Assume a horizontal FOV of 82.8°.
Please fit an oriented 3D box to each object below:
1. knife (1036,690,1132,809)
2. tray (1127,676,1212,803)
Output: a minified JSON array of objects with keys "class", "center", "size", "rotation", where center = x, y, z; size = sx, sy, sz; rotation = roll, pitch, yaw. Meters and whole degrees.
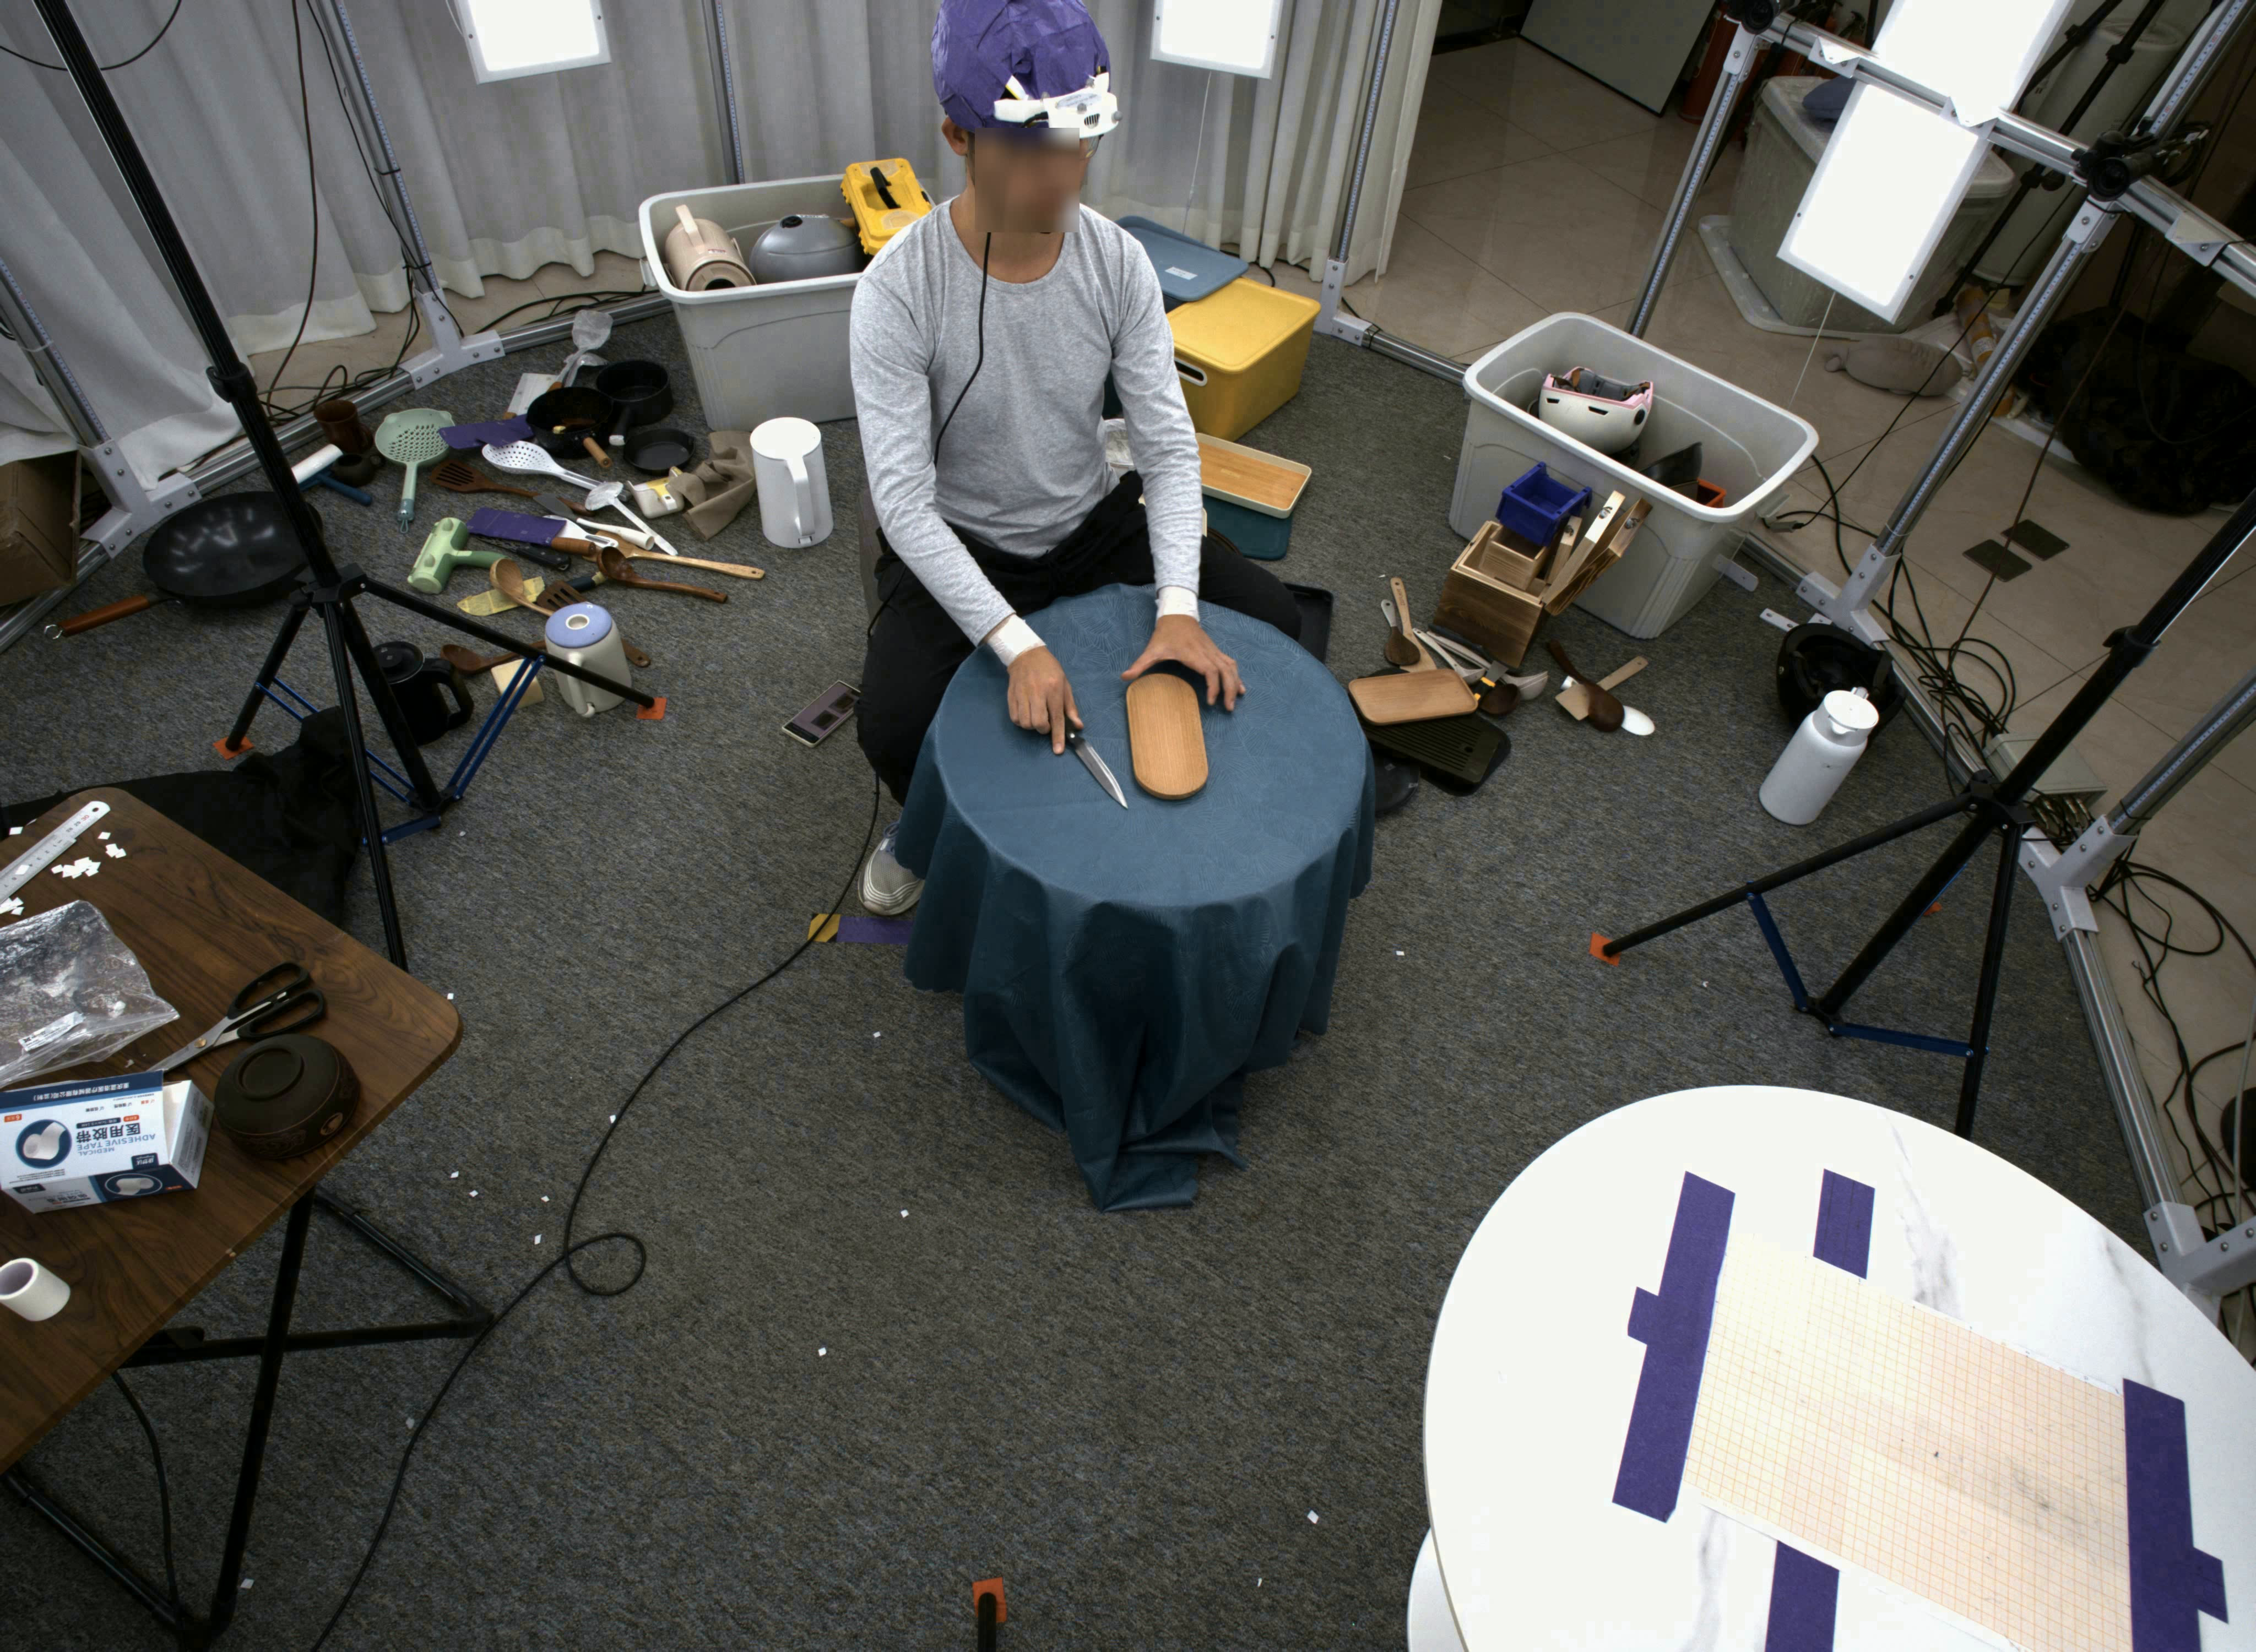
[{"class":"knife","center":[-0.062,-0.104,1.745],"size":[0.024,0.016,0.243],"rotation":[-27,58,-17]},{"class":"tray","center":[0.055,-0.122,1.767],"size":[0.101,0.020,0.237],"rotation":[-3,51,-5]}]
